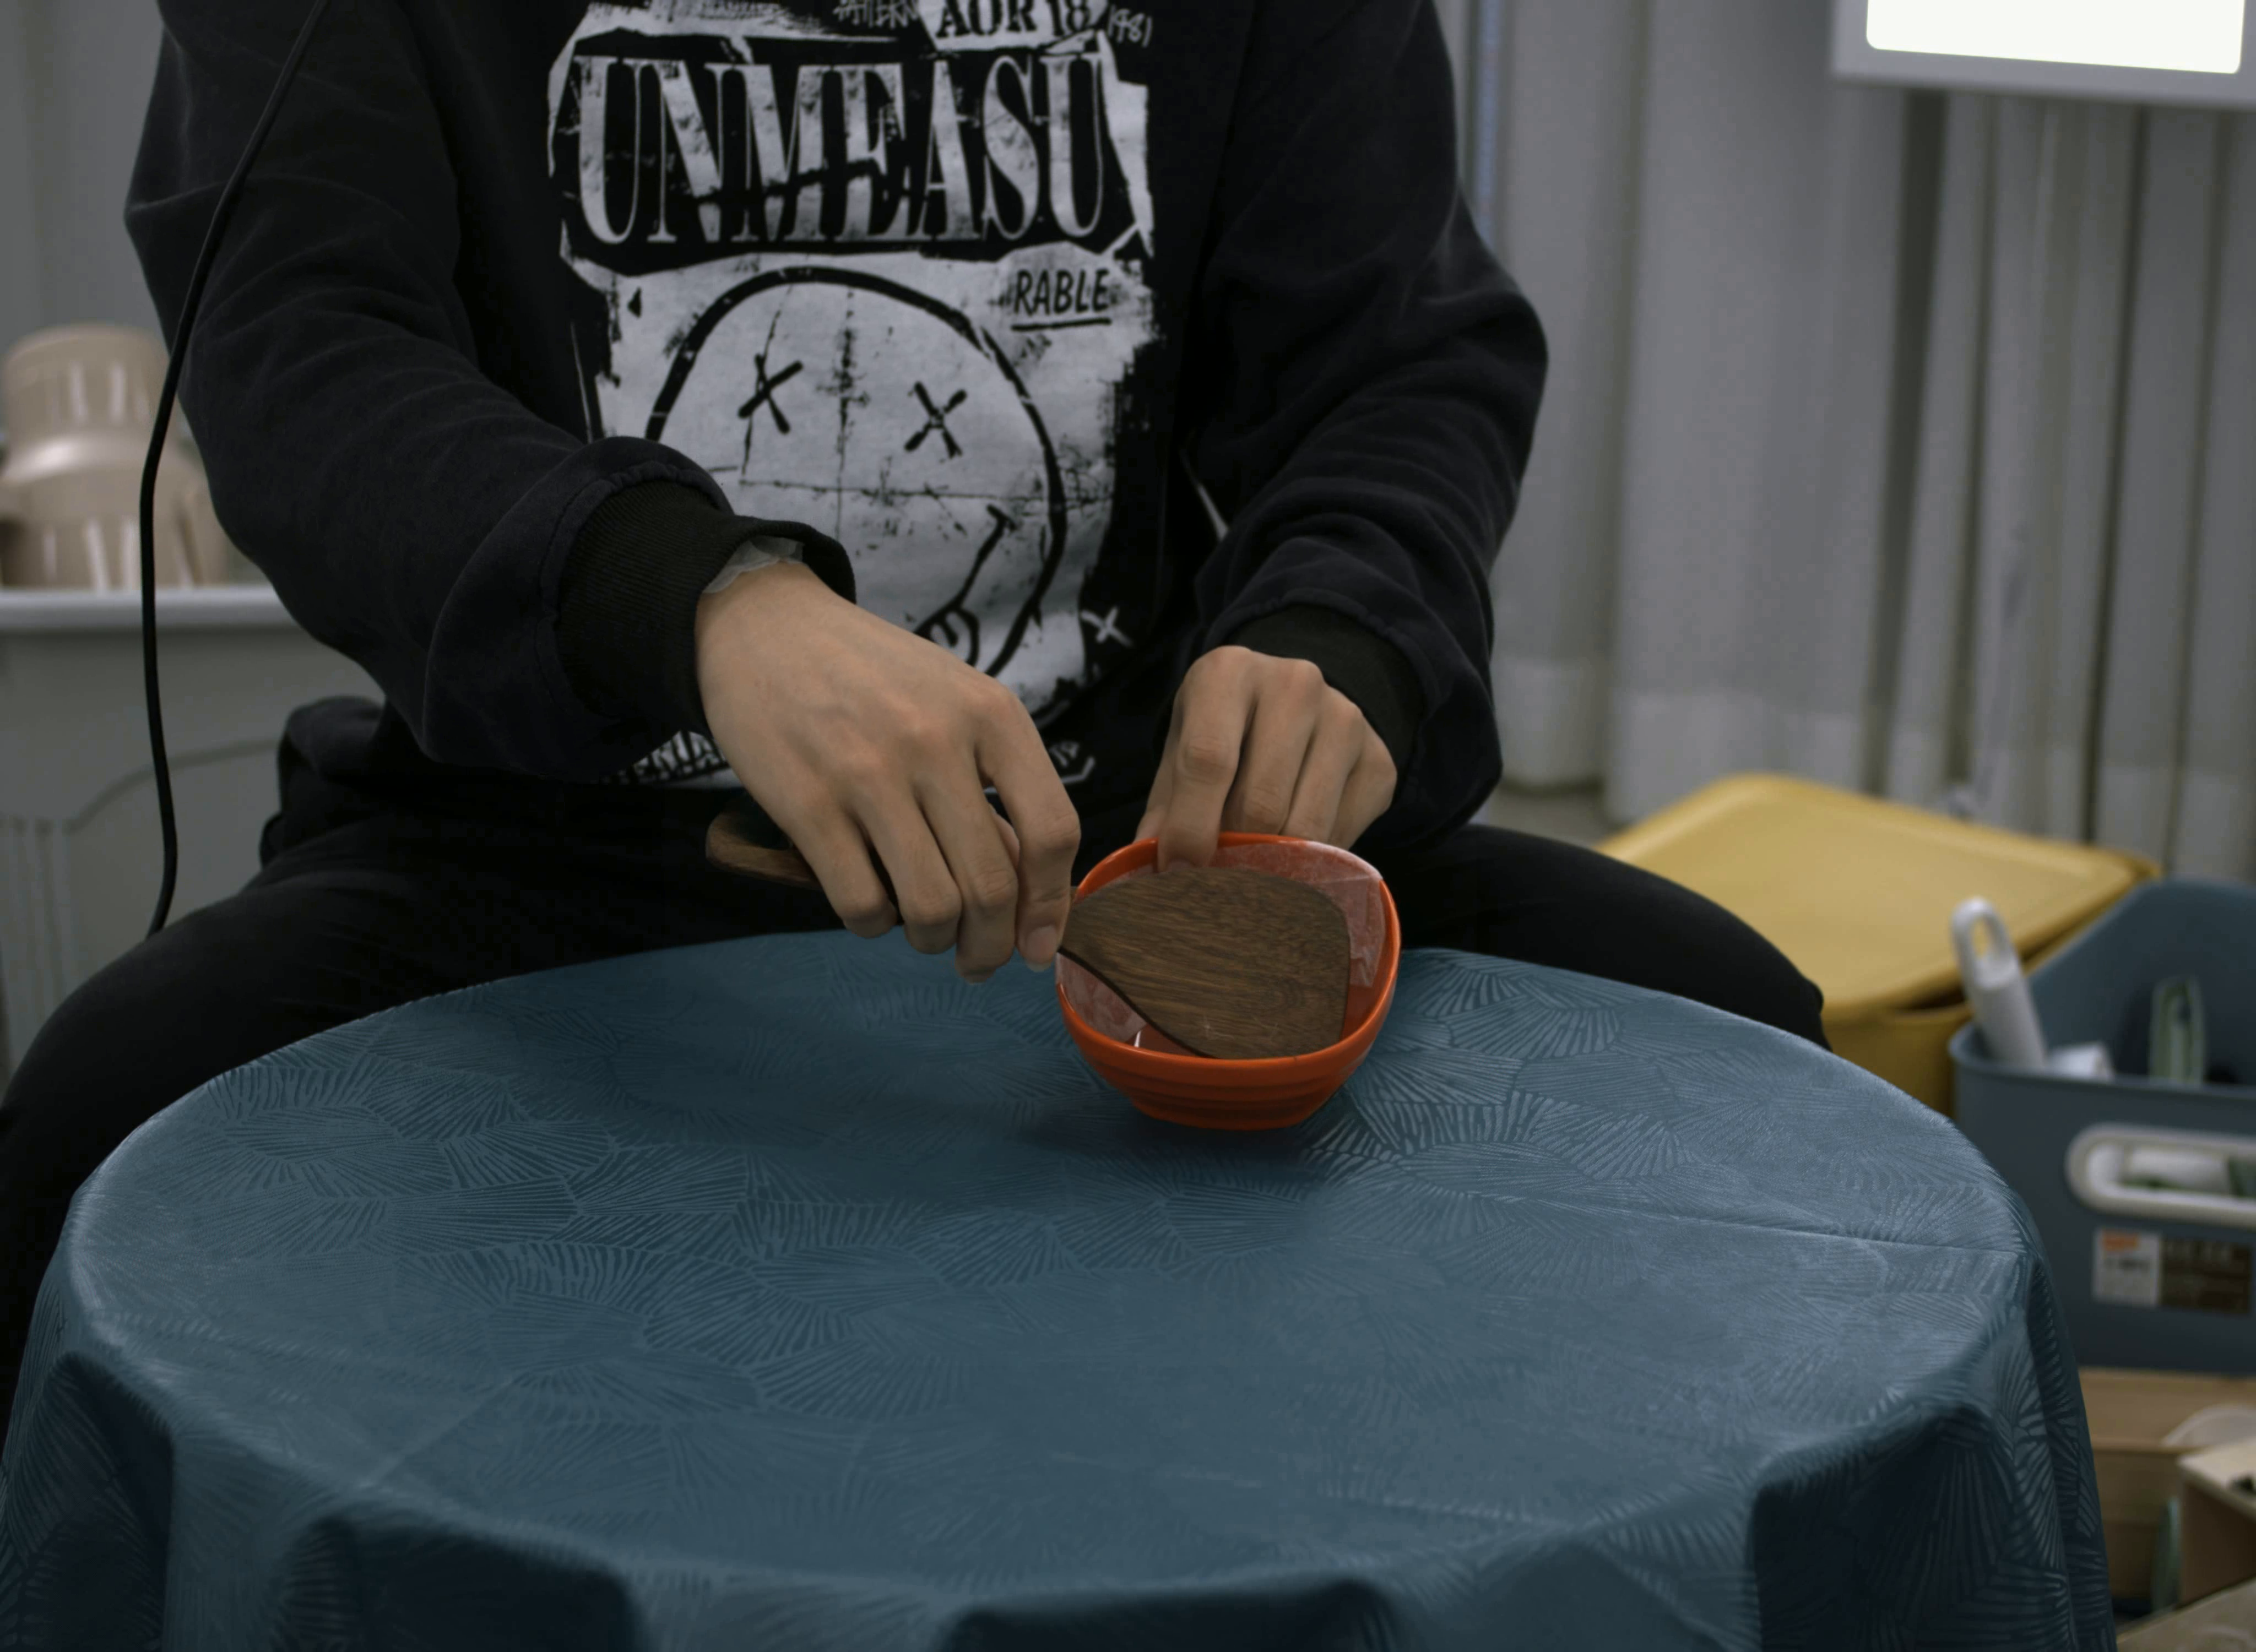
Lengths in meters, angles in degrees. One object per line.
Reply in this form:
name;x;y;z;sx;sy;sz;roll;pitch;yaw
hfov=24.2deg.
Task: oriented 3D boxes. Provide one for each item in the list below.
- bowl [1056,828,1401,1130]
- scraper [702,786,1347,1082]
bowl;0.032;0.056;1.692;0.118;0.052;0.118;0;43;1
scraper;-0.032;0.026;1.652;0.212;0.011;0.075;16;56;-12
